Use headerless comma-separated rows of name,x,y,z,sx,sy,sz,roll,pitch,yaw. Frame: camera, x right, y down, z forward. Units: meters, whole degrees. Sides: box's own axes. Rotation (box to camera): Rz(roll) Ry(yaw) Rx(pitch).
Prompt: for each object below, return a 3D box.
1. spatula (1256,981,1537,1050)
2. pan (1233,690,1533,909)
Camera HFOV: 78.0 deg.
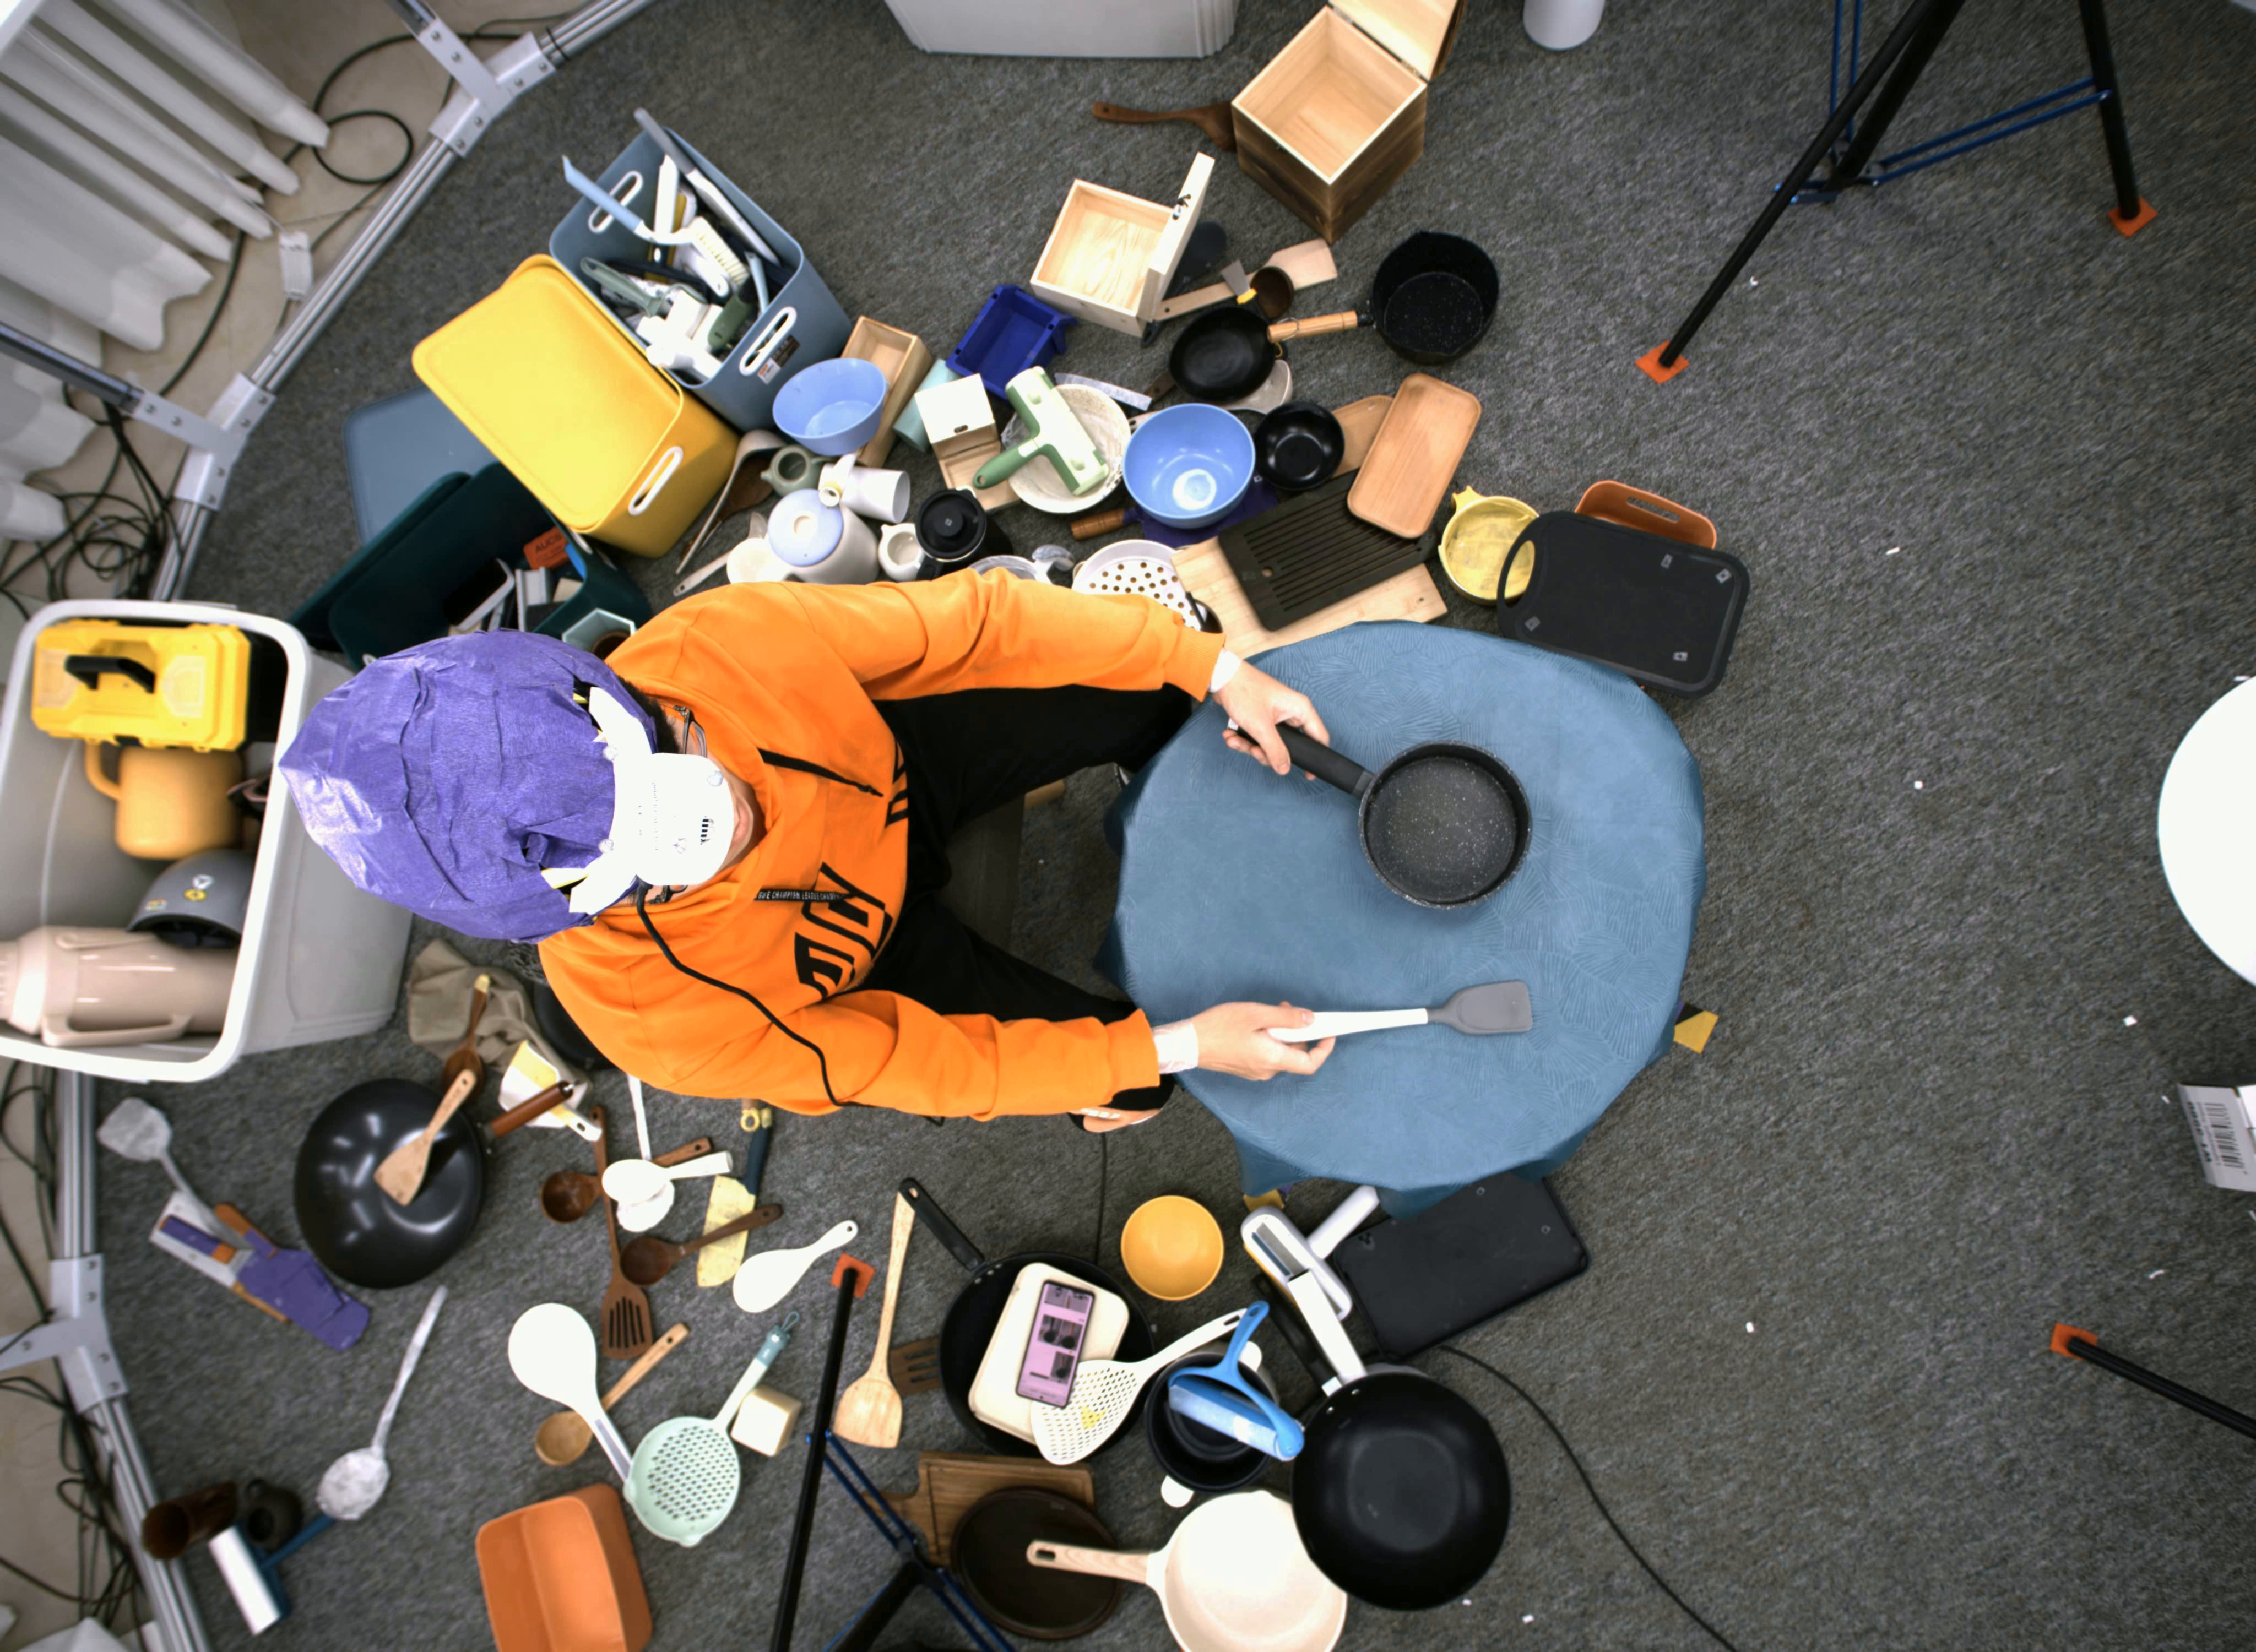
spatula,0.276,0.198,1.423,0.288,0.033,0.058,-5,72,-1
pan,0.255,-0.041,1.423,0.328,0.086,0.172,31,92,8
